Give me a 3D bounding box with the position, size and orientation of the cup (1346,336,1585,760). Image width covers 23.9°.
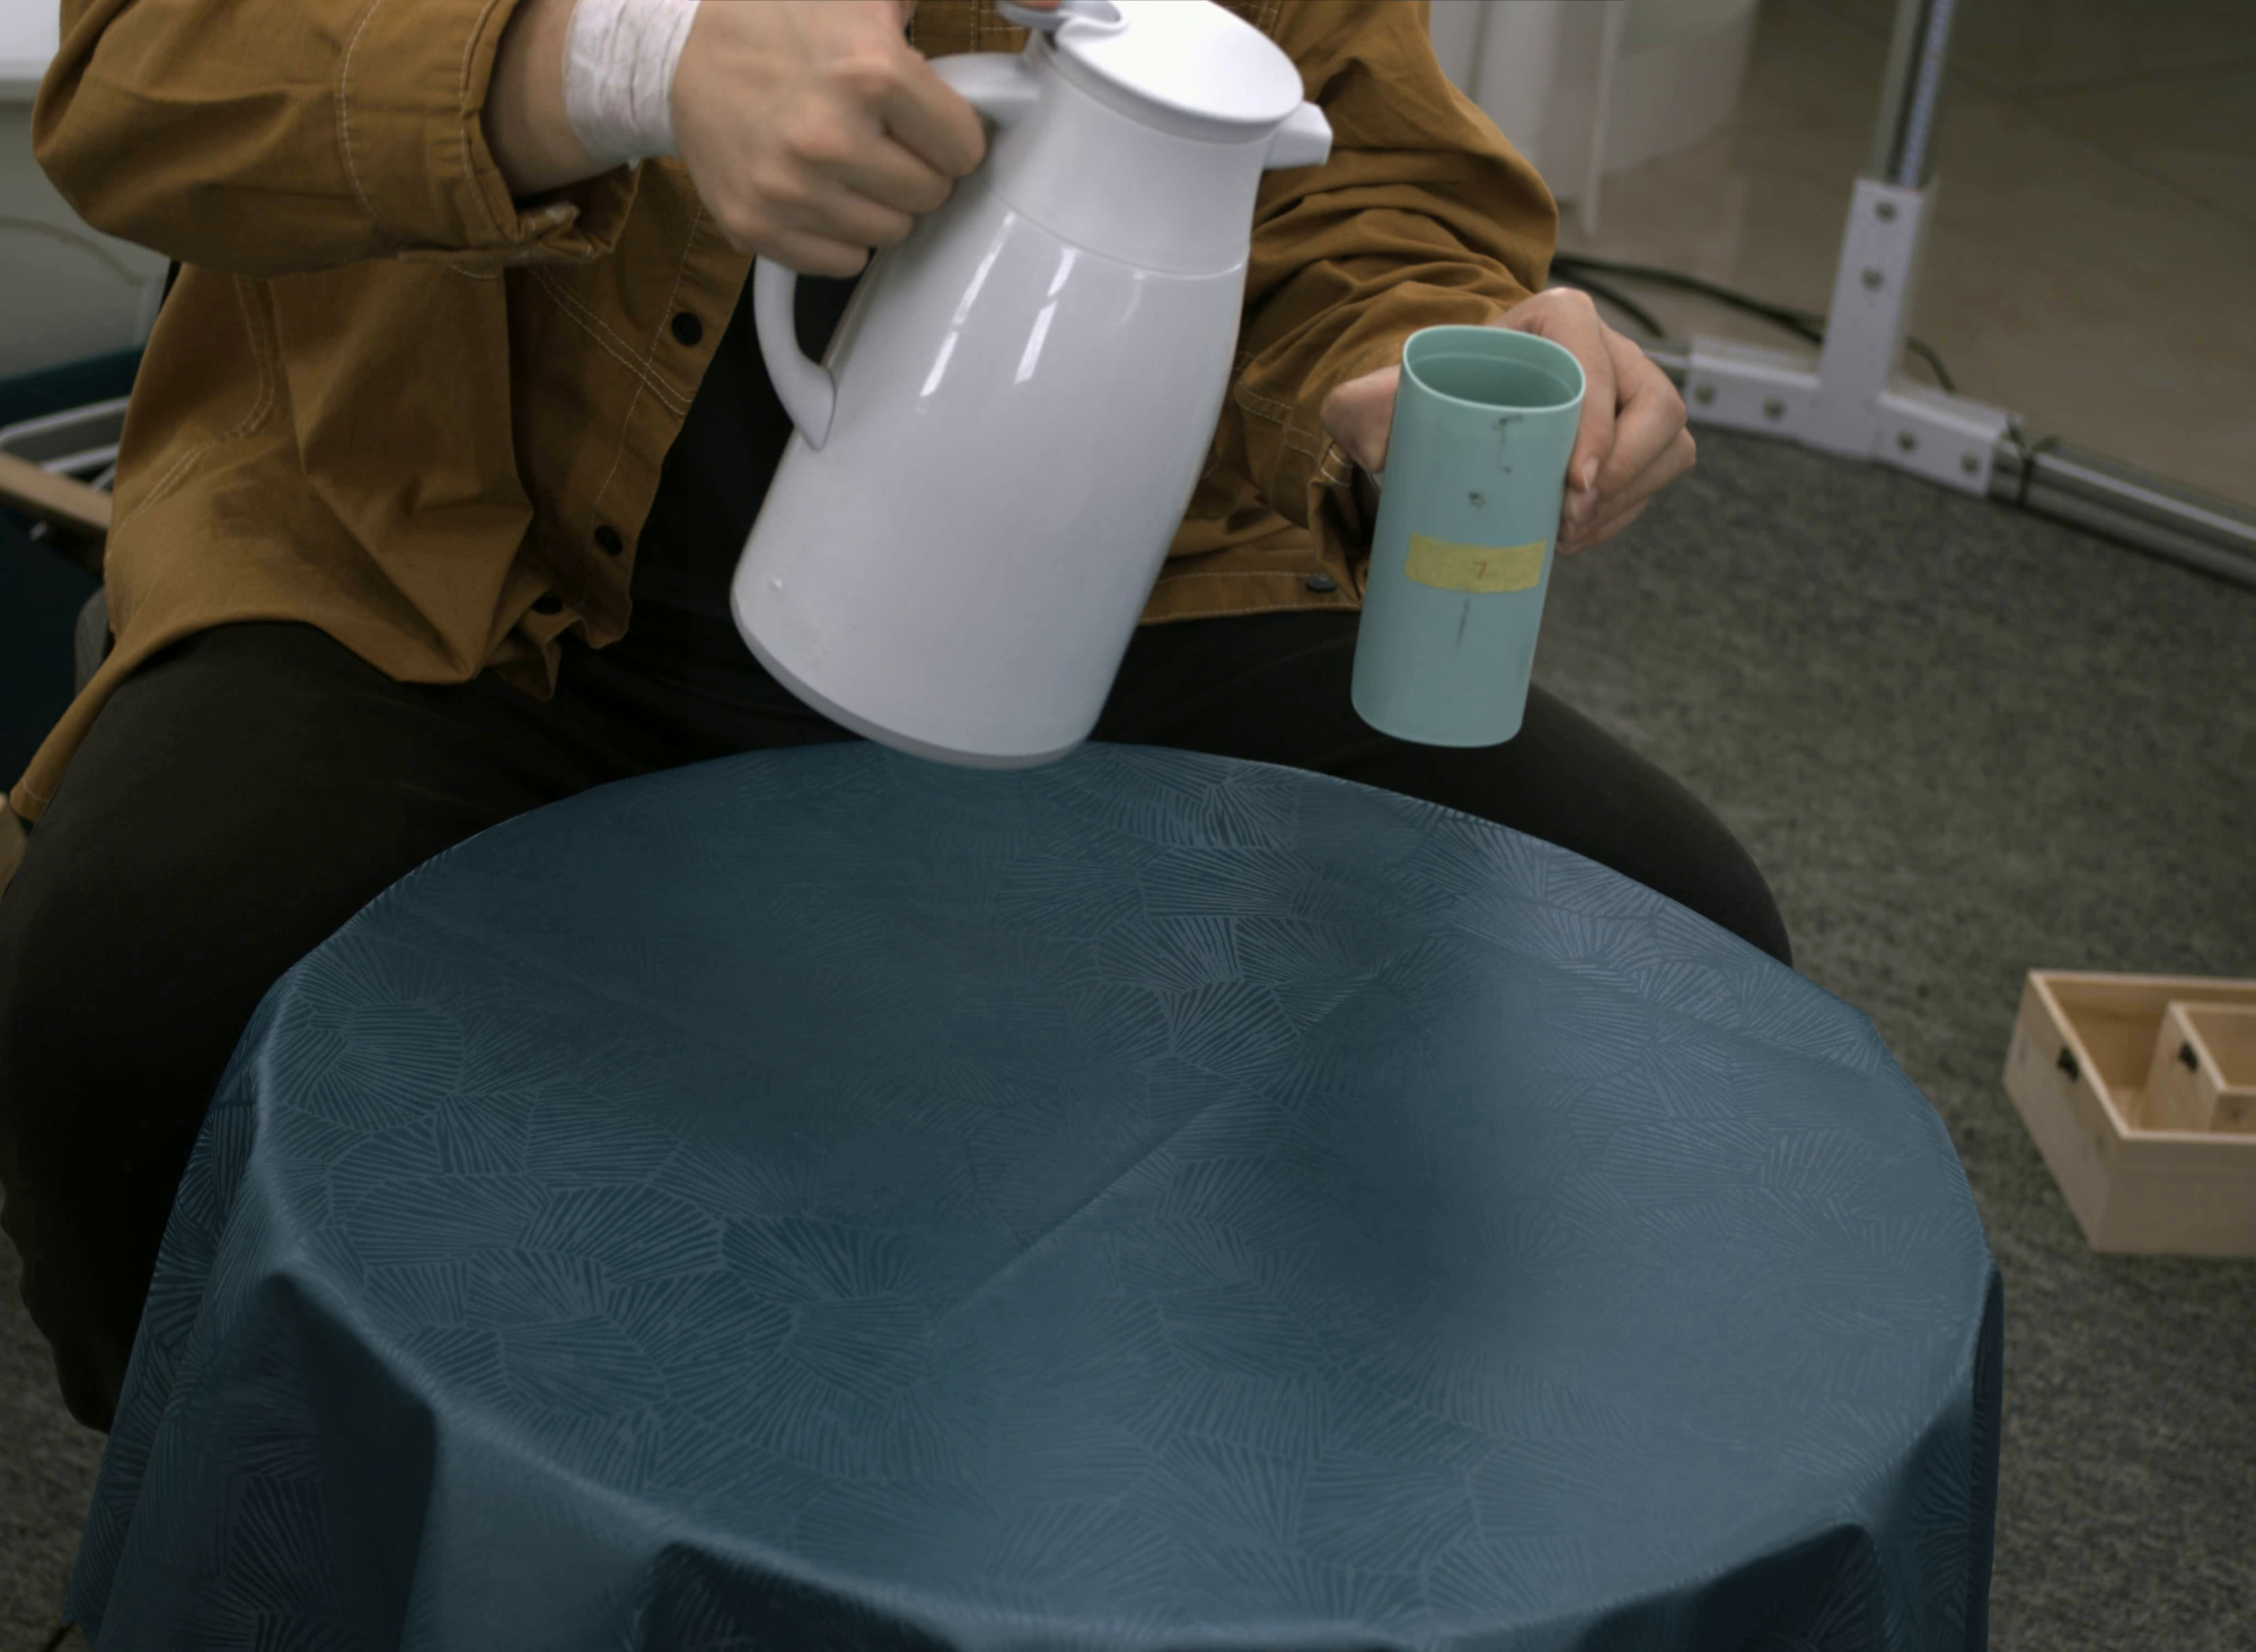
[{"bbox_3d":[0.114,-0.095,1.816,0.066,0.132,0.067,6,31,-4],"label":"cup"}]

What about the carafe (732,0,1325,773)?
[{"bbox_3d":[-0.046,-0.157,1.730,0.166,0.248,0.134,9,32,-22],"label":"carafe"}]
